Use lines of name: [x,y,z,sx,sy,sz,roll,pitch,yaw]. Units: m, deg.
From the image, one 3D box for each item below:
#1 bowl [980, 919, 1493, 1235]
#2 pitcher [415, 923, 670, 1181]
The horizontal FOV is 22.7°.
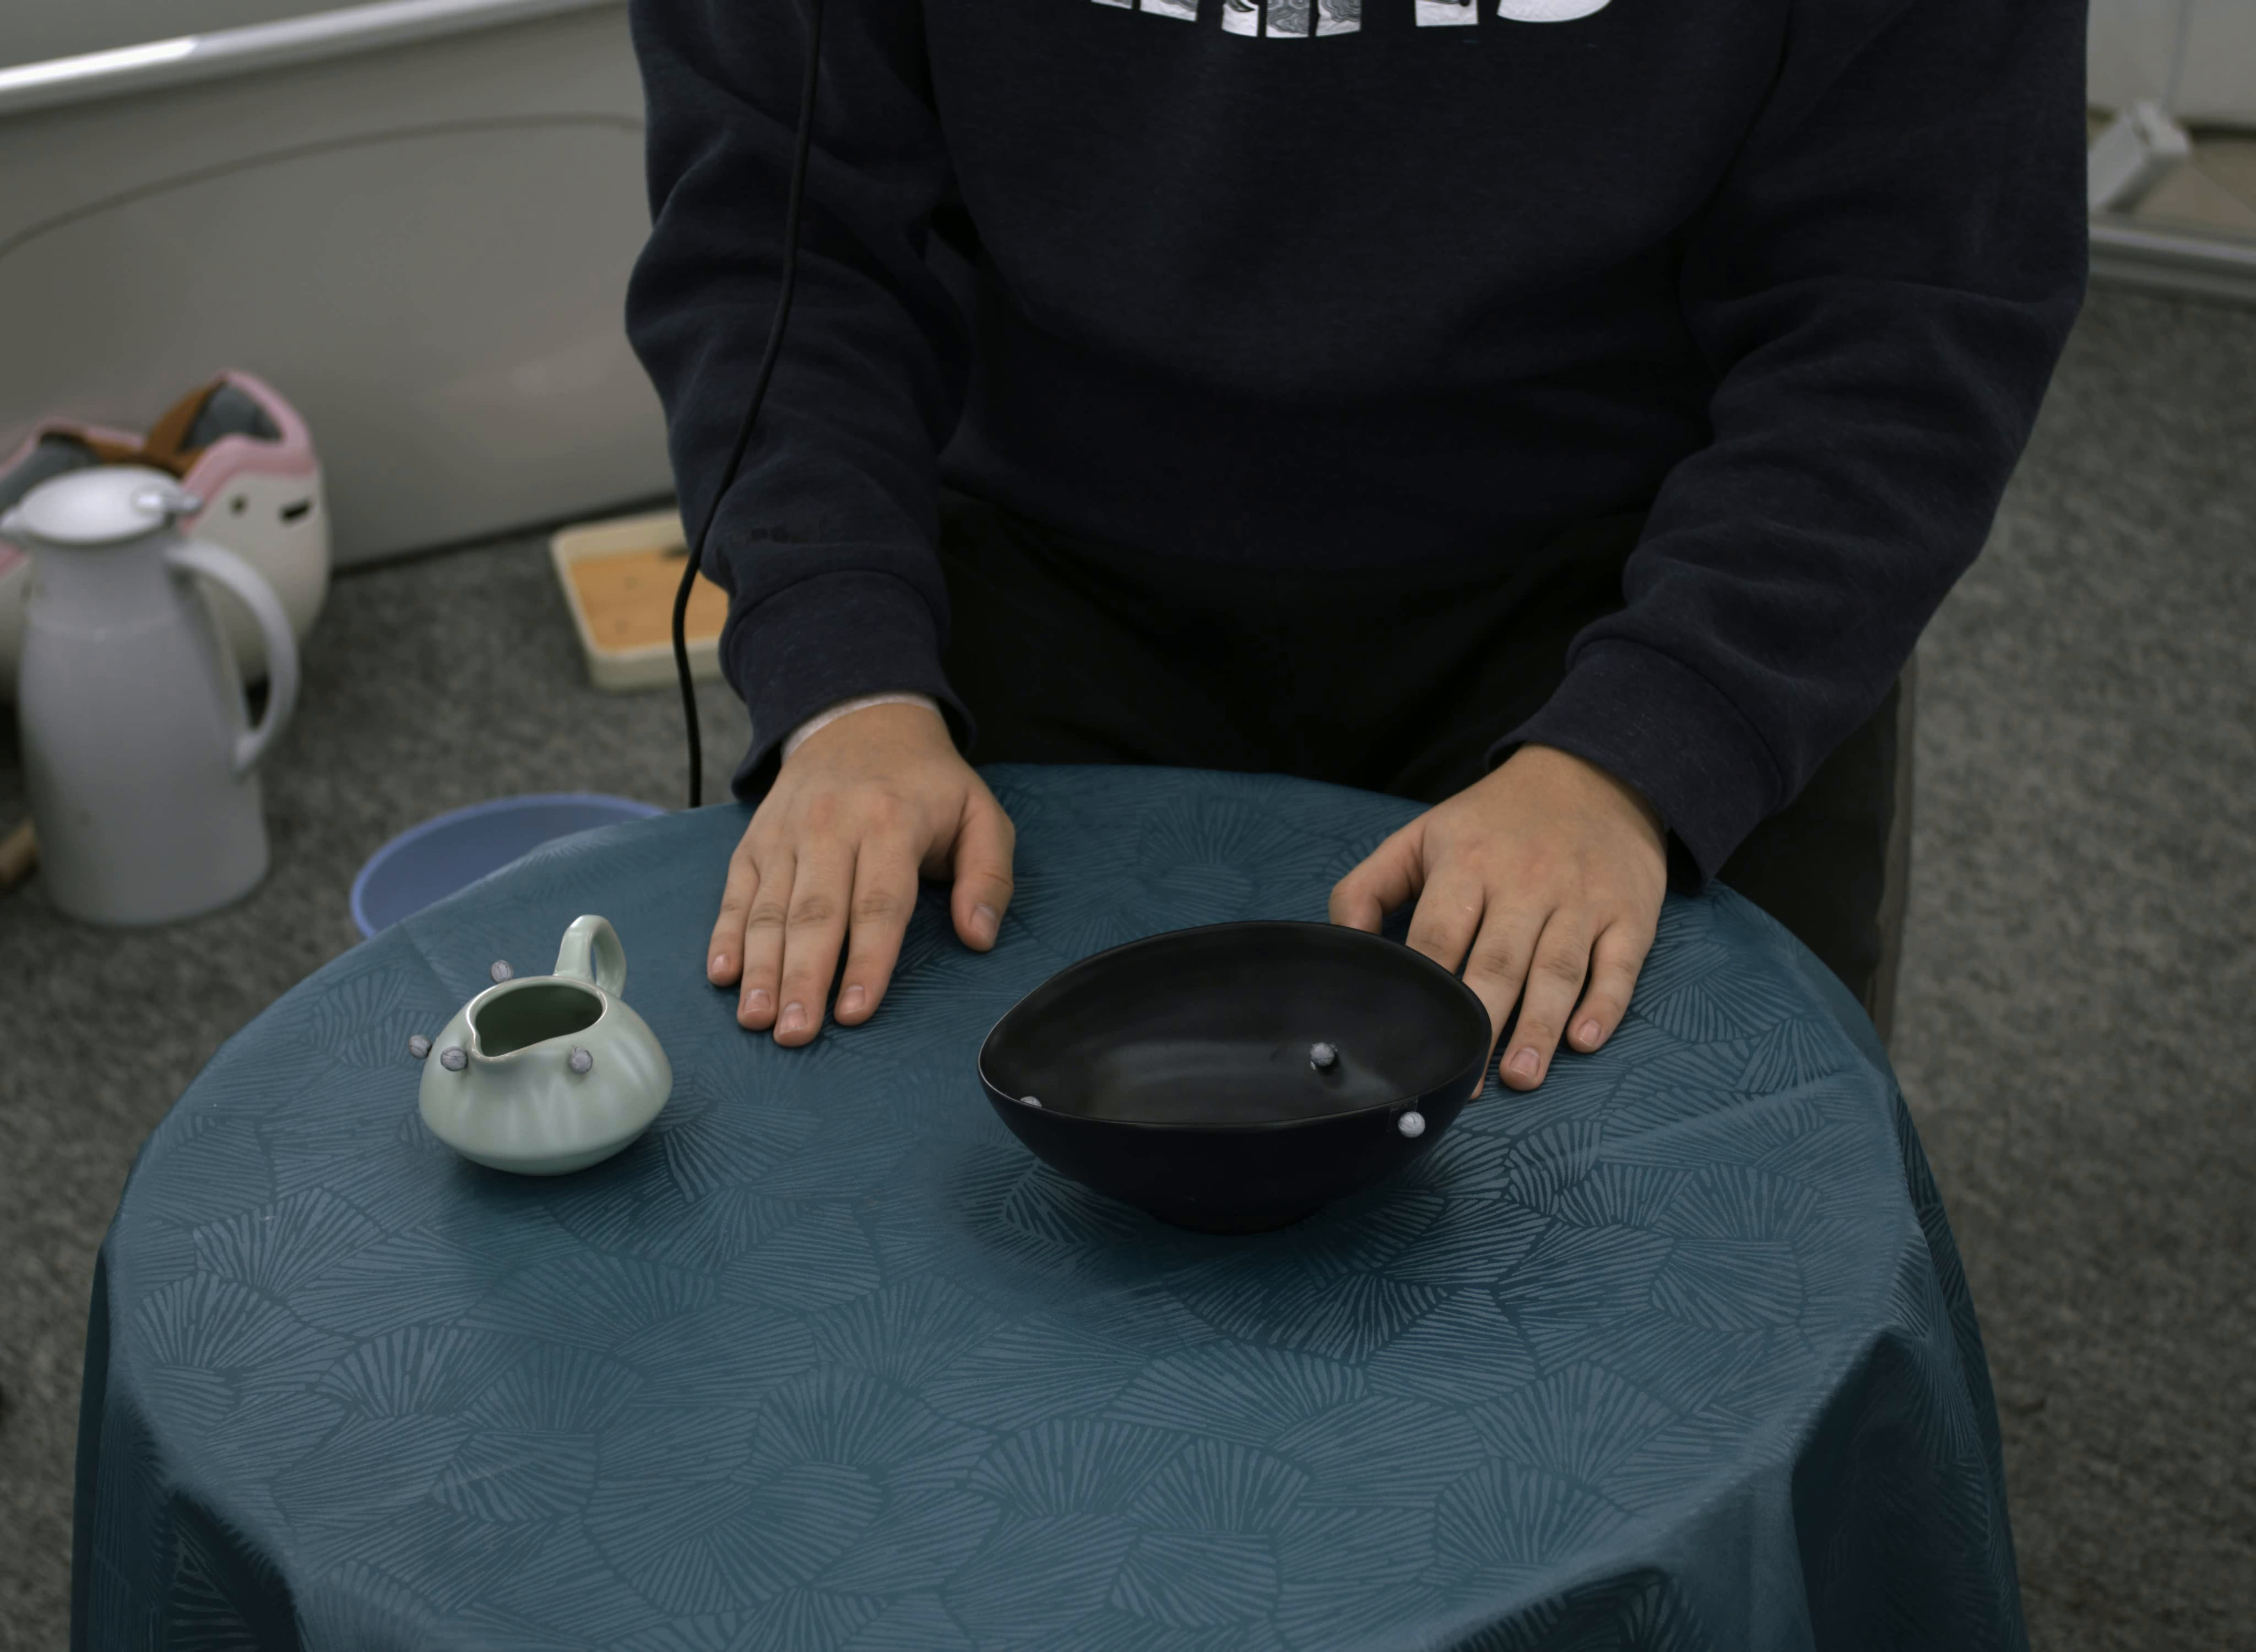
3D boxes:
bowl: [0.036,0.092,1.852,0.169,0.066,0.139,-2,26,3]
pitcher: [-0.195,0.078,1.906,0.085,0.060,0.110,5,26,14]
